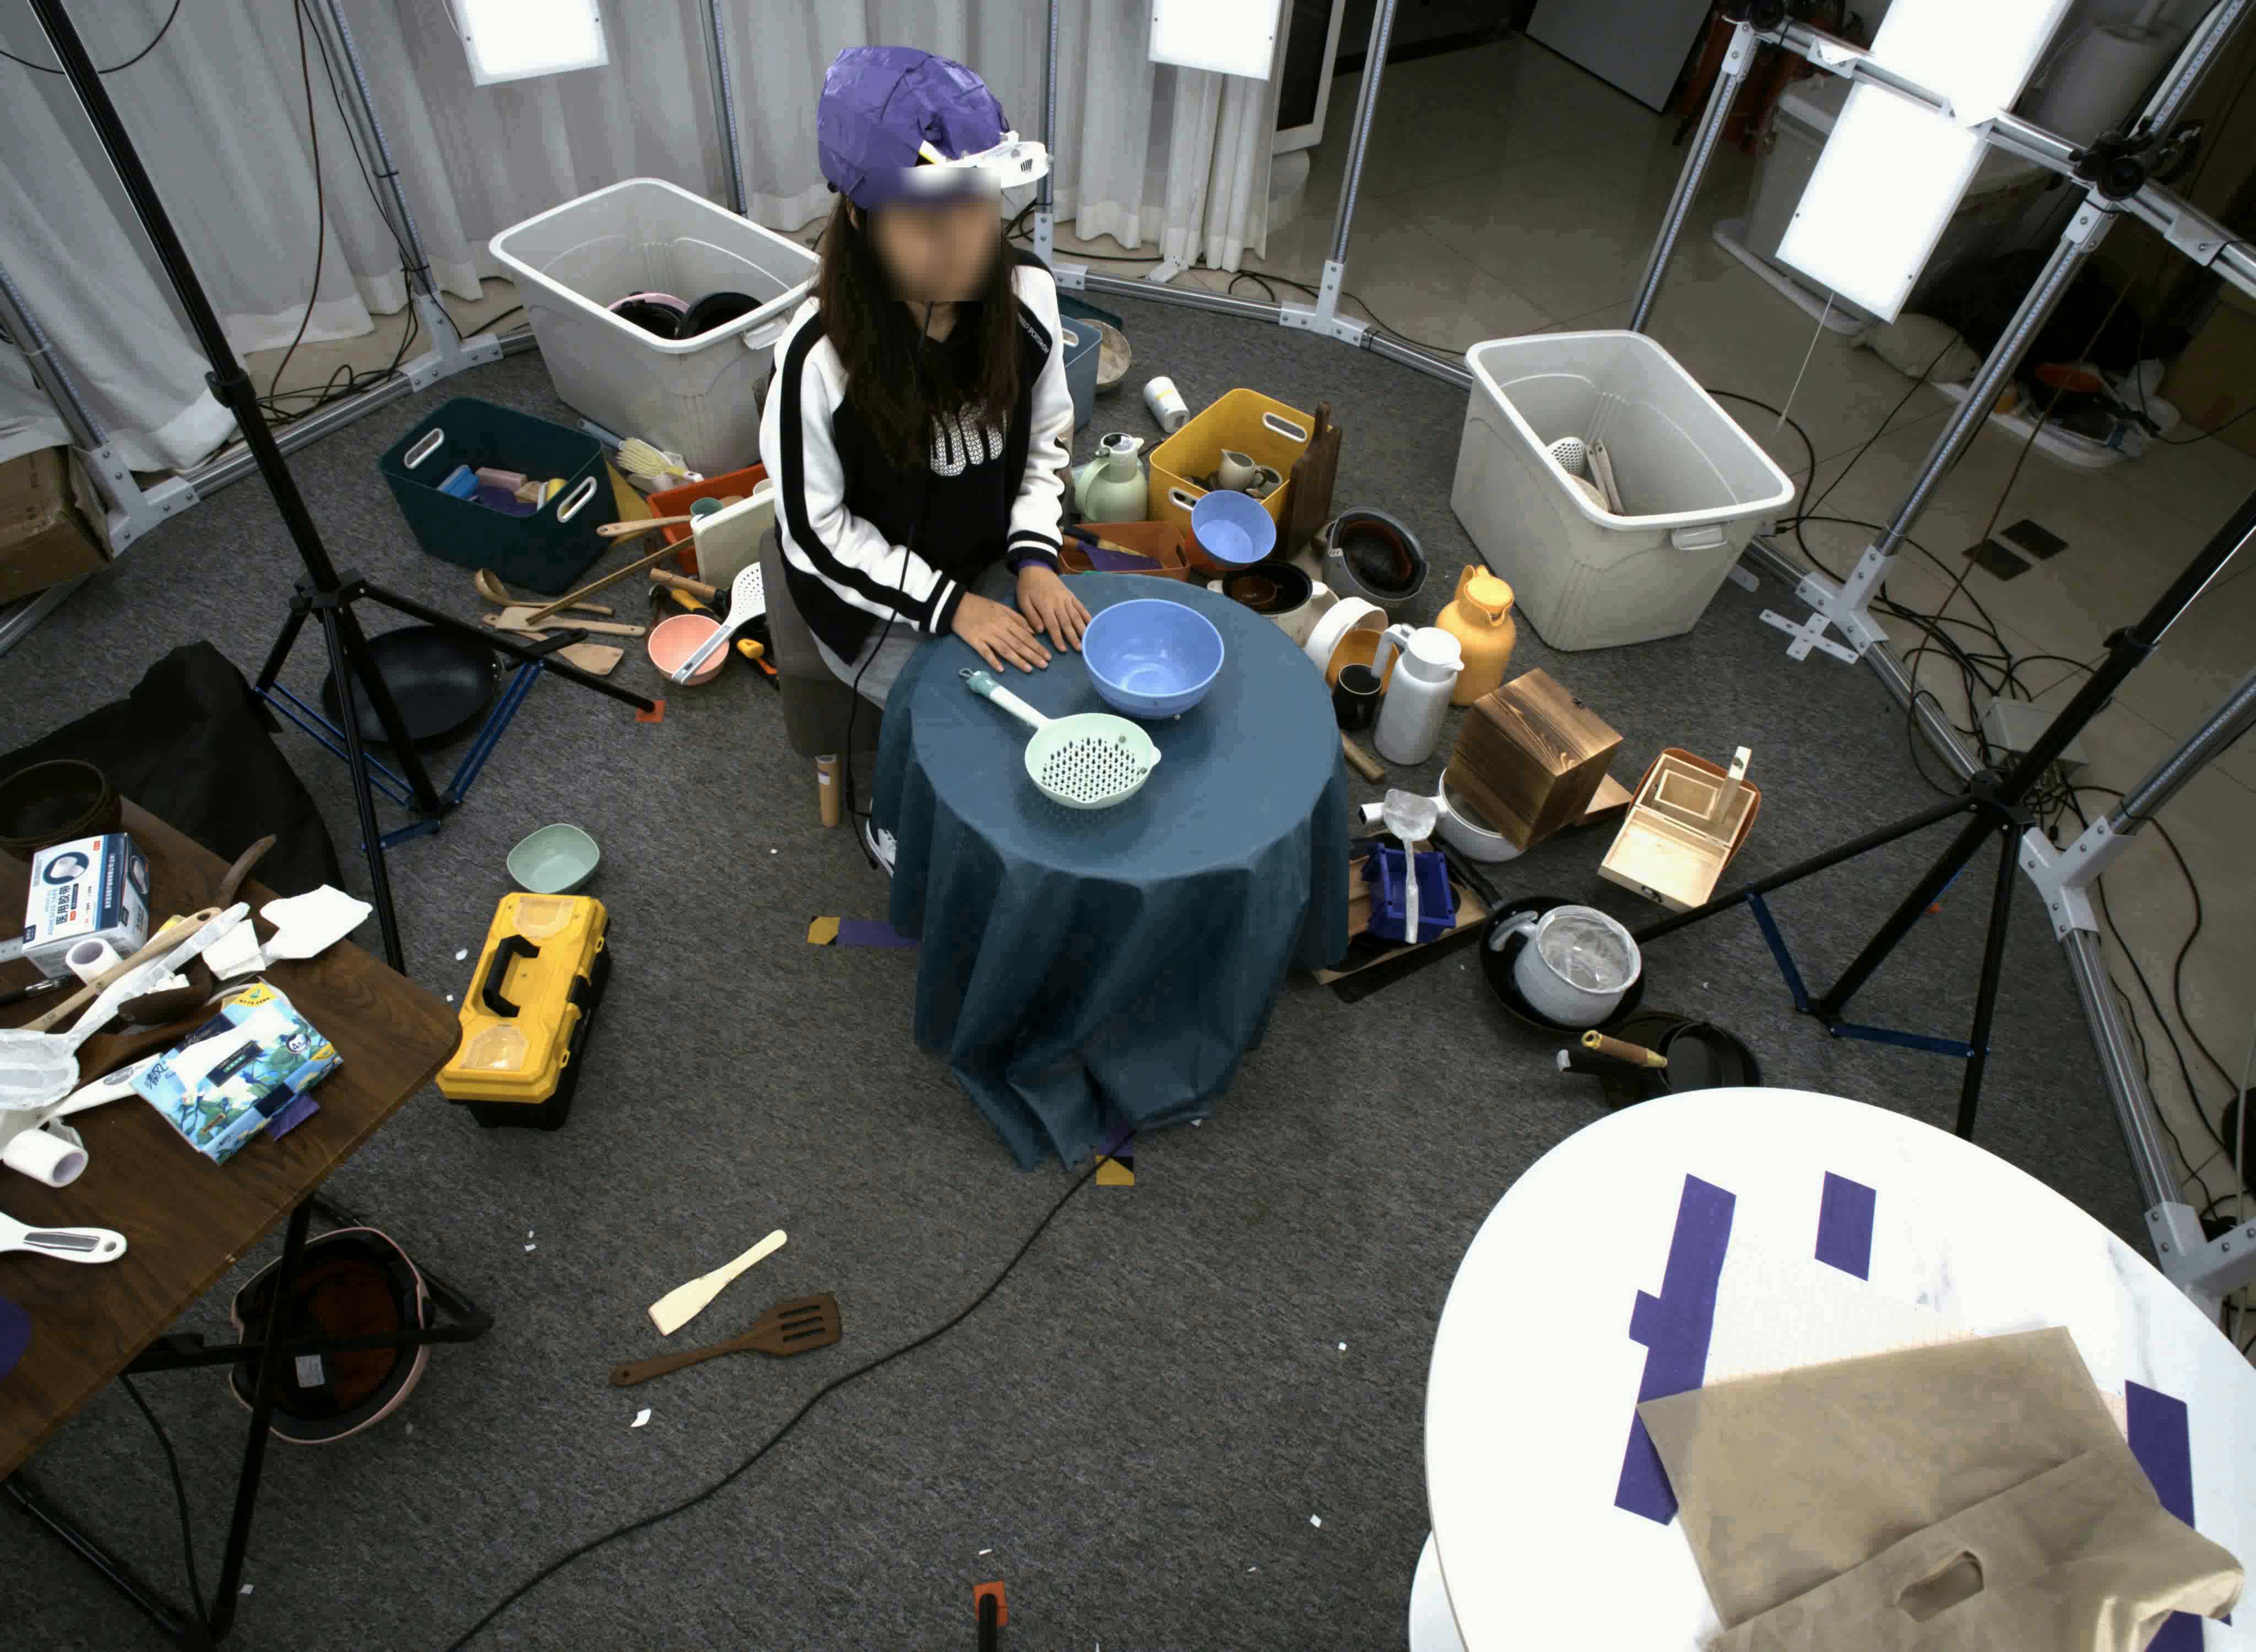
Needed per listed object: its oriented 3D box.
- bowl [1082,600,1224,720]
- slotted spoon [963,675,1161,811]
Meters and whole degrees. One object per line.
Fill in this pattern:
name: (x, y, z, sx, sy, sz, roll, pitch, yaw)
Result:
bowl: (0.032, -0.218, 1.800, 0.196, 0.093, 0.201, 2, 49, -2)
slotted spoon: (-0.115, -0.131, 1.739, 0.170, 0.073, 0.365, -32, 56, -28)
